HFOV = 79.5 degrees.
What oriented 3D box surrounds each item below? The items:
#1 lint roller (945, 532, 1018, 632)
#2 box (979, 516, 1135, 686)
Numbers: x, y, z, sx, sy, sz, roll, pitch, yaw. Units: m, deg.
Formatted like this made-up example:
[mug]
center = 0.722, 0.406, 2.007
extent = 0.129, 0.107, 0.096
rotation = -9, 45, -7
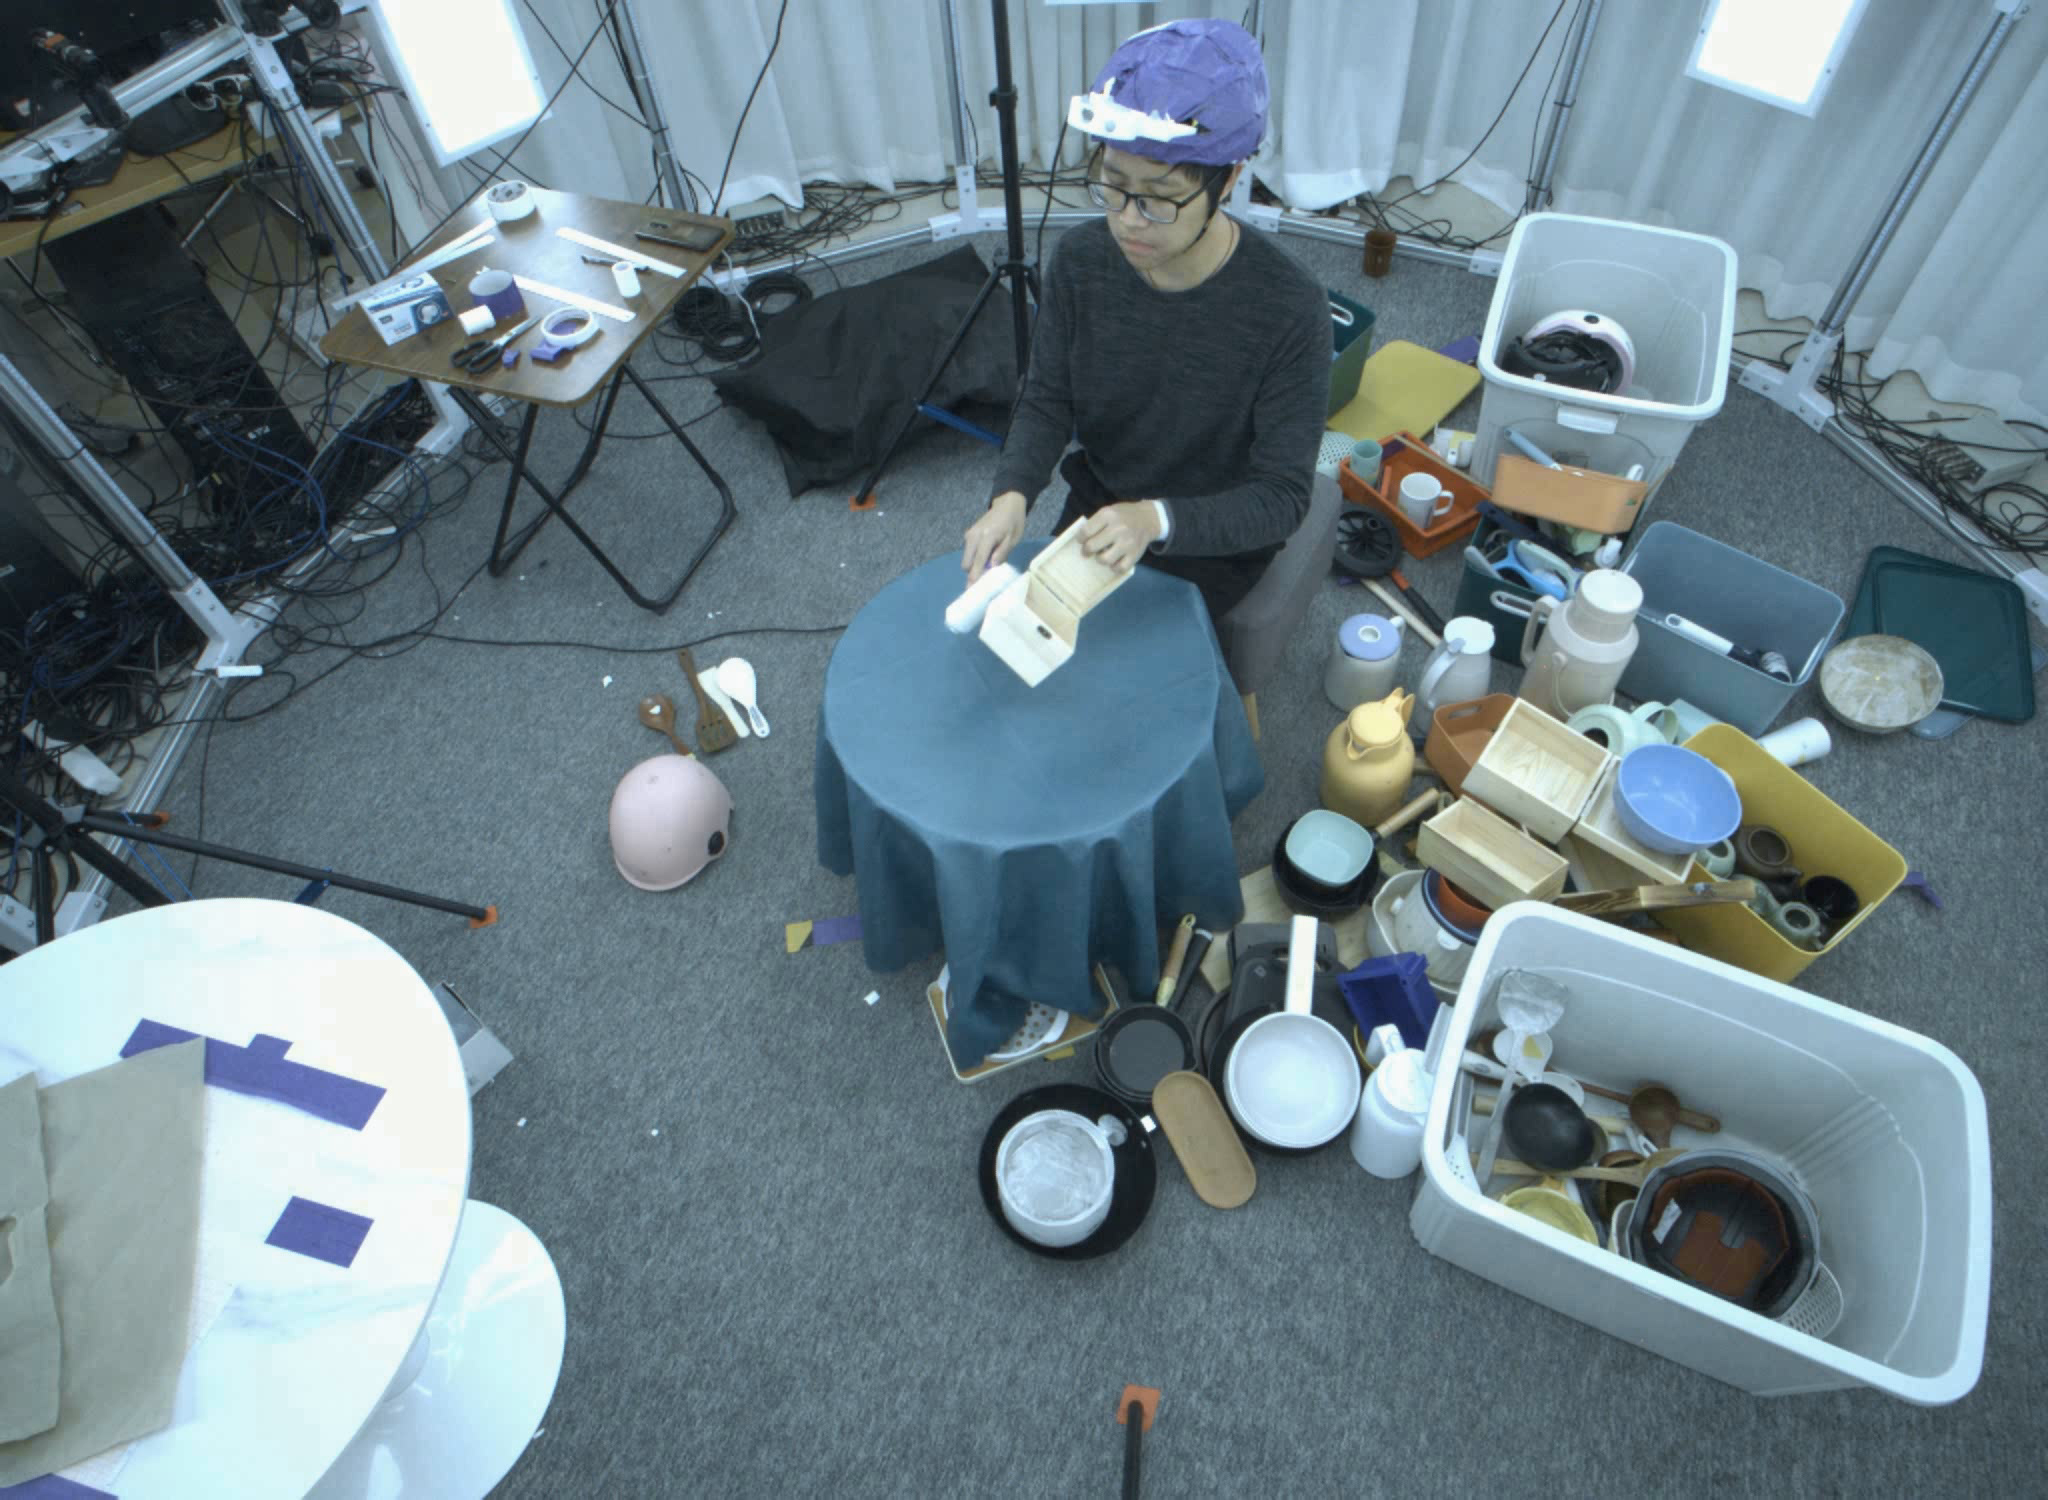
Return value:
[lint roller]
center = -0.062, -0.263, 1.765
extent = 0.051, 0.131, 0.178
rotation = 28, 42, -33
[box]
center = 0.045, -0.198, 1.631
extent = 0.183, 0.104, 0.133
rotation = -37, 23, 25
